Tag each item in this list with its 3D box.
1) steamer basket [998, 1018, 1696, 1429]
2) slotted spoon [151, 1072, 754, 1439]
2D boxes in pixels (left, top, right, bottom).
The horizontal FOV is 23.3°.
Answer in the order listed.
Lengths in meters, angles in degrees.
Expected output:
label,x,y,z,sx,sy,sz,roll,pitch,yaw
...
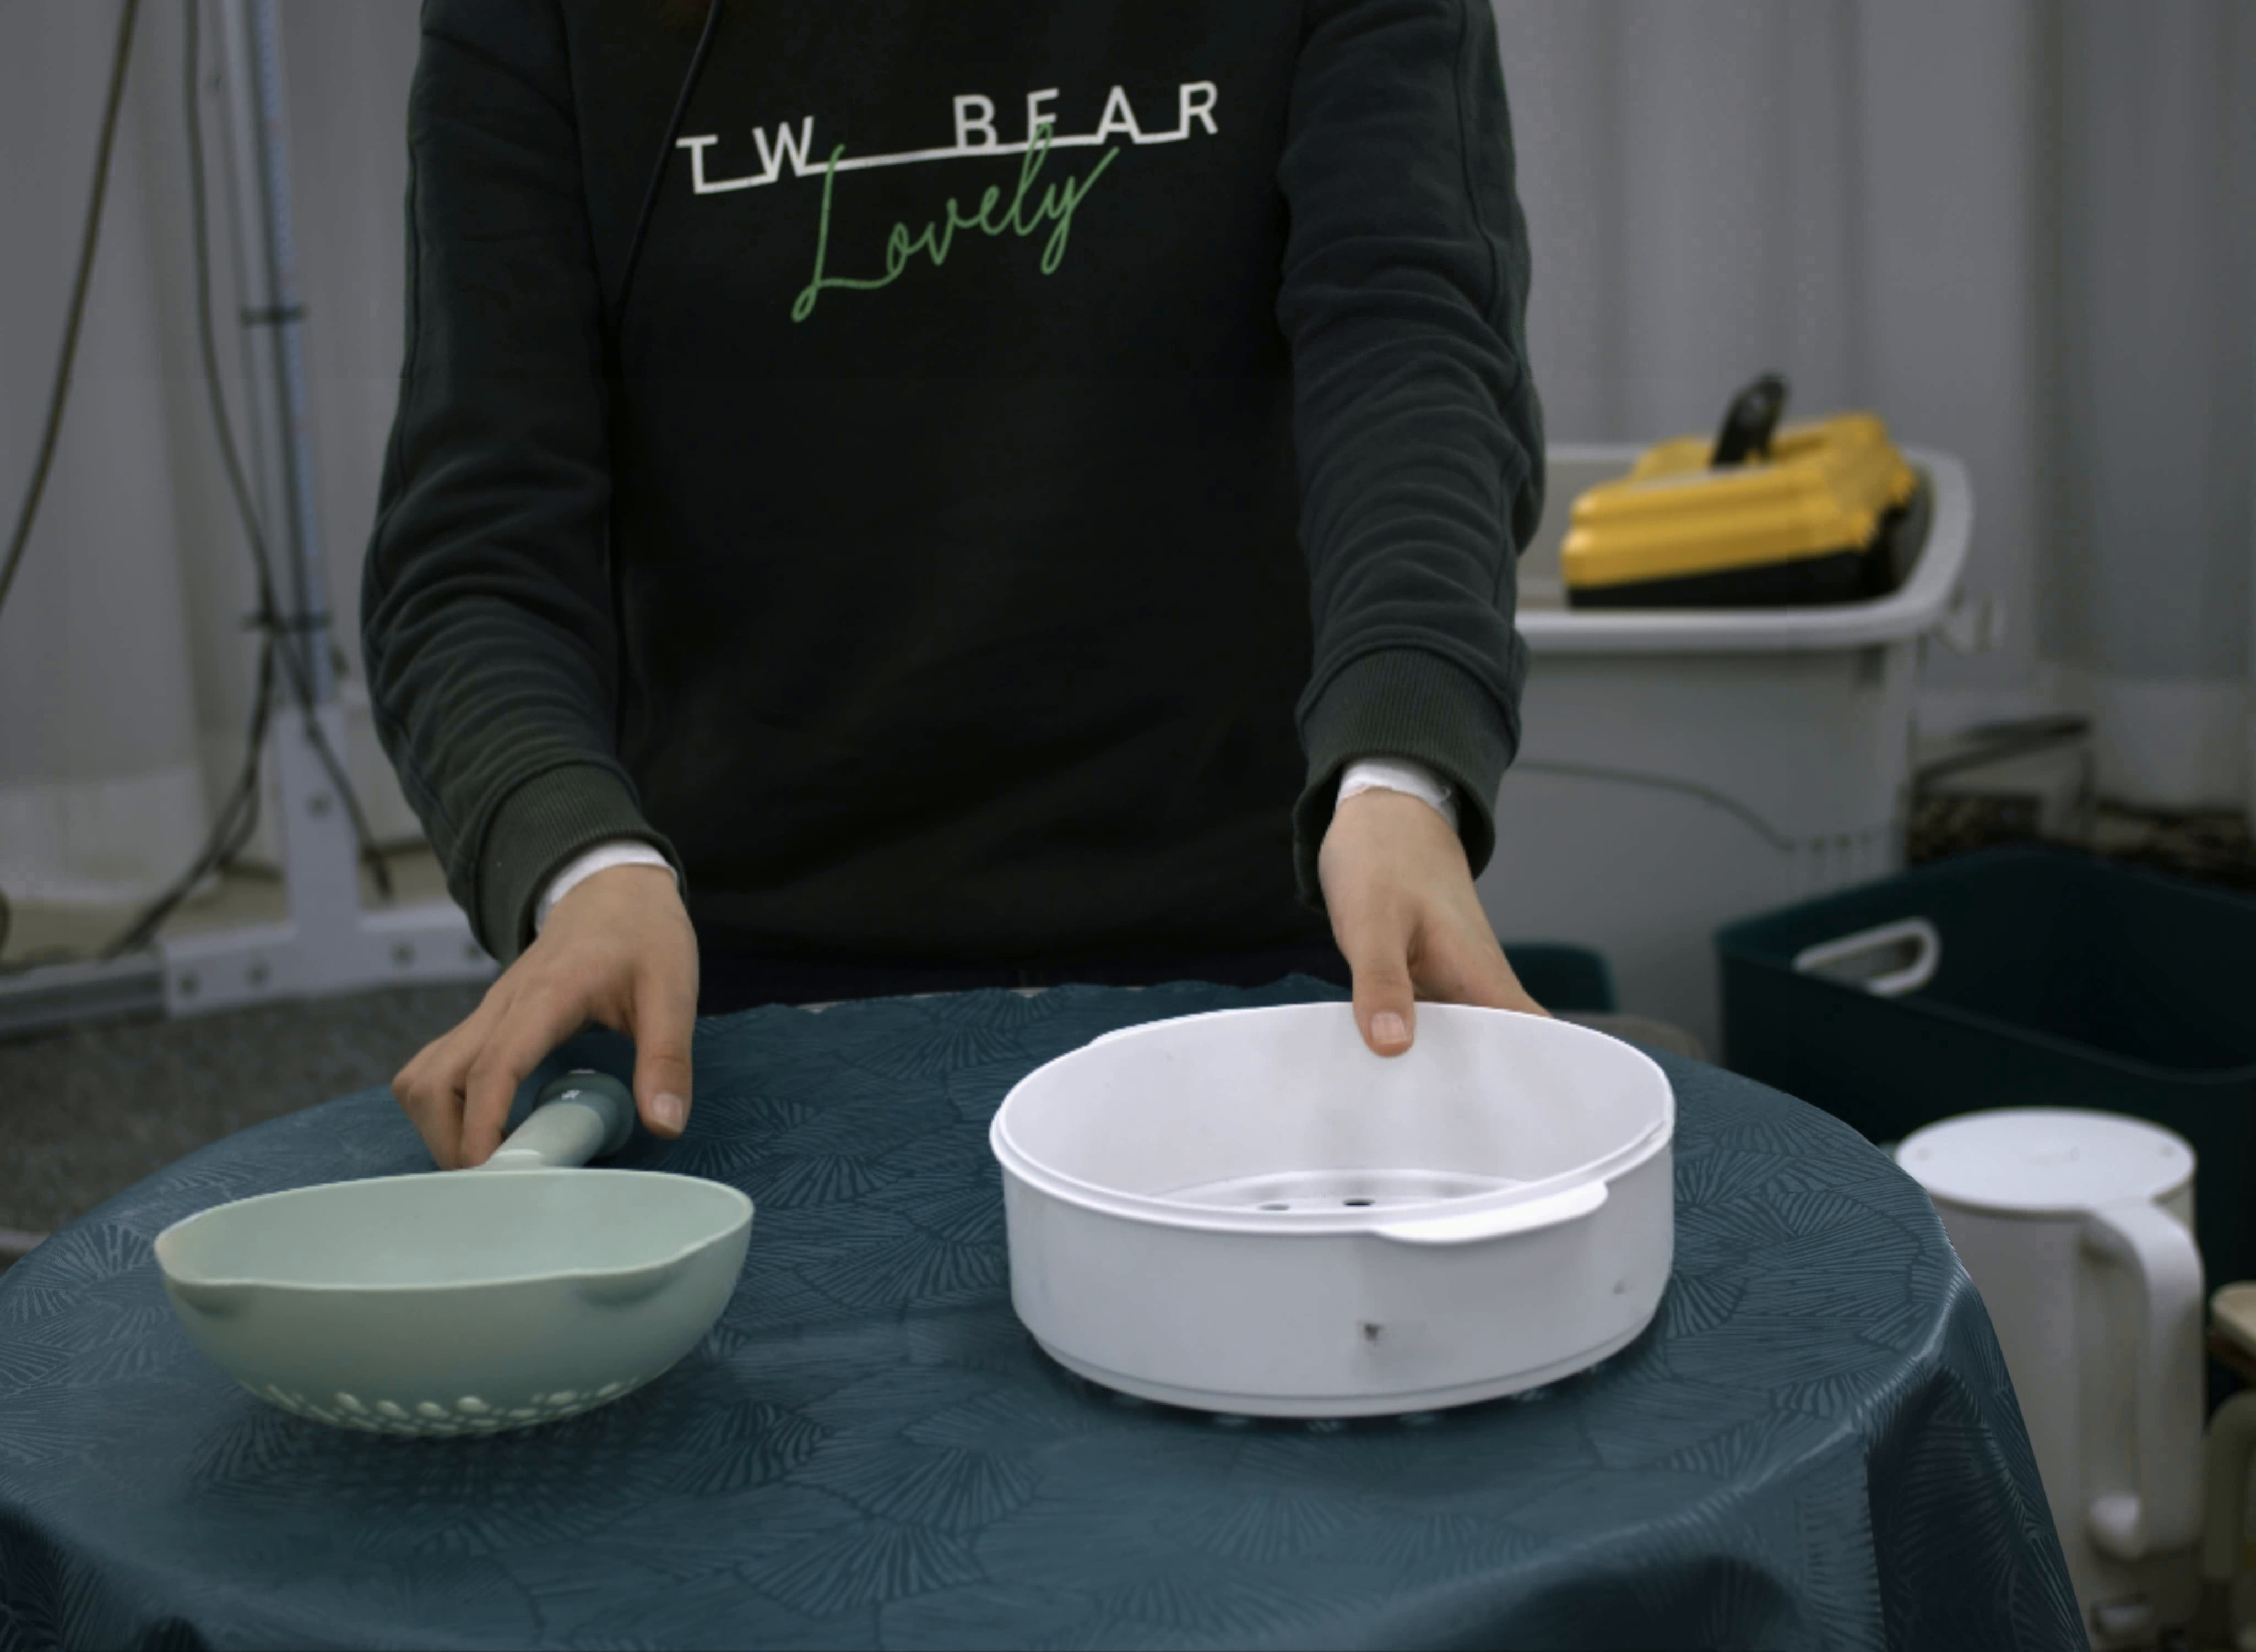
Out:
label,x,y,z,sx,sy,sz,roll,pitch,yaw
steamer basket,0.064,0.114,1.581,0.201,0.069,0.232,-8,15,-24
slotted spoon,-0.183,0.112,1.634,0.169,0.075,0.361,-1,15,4
